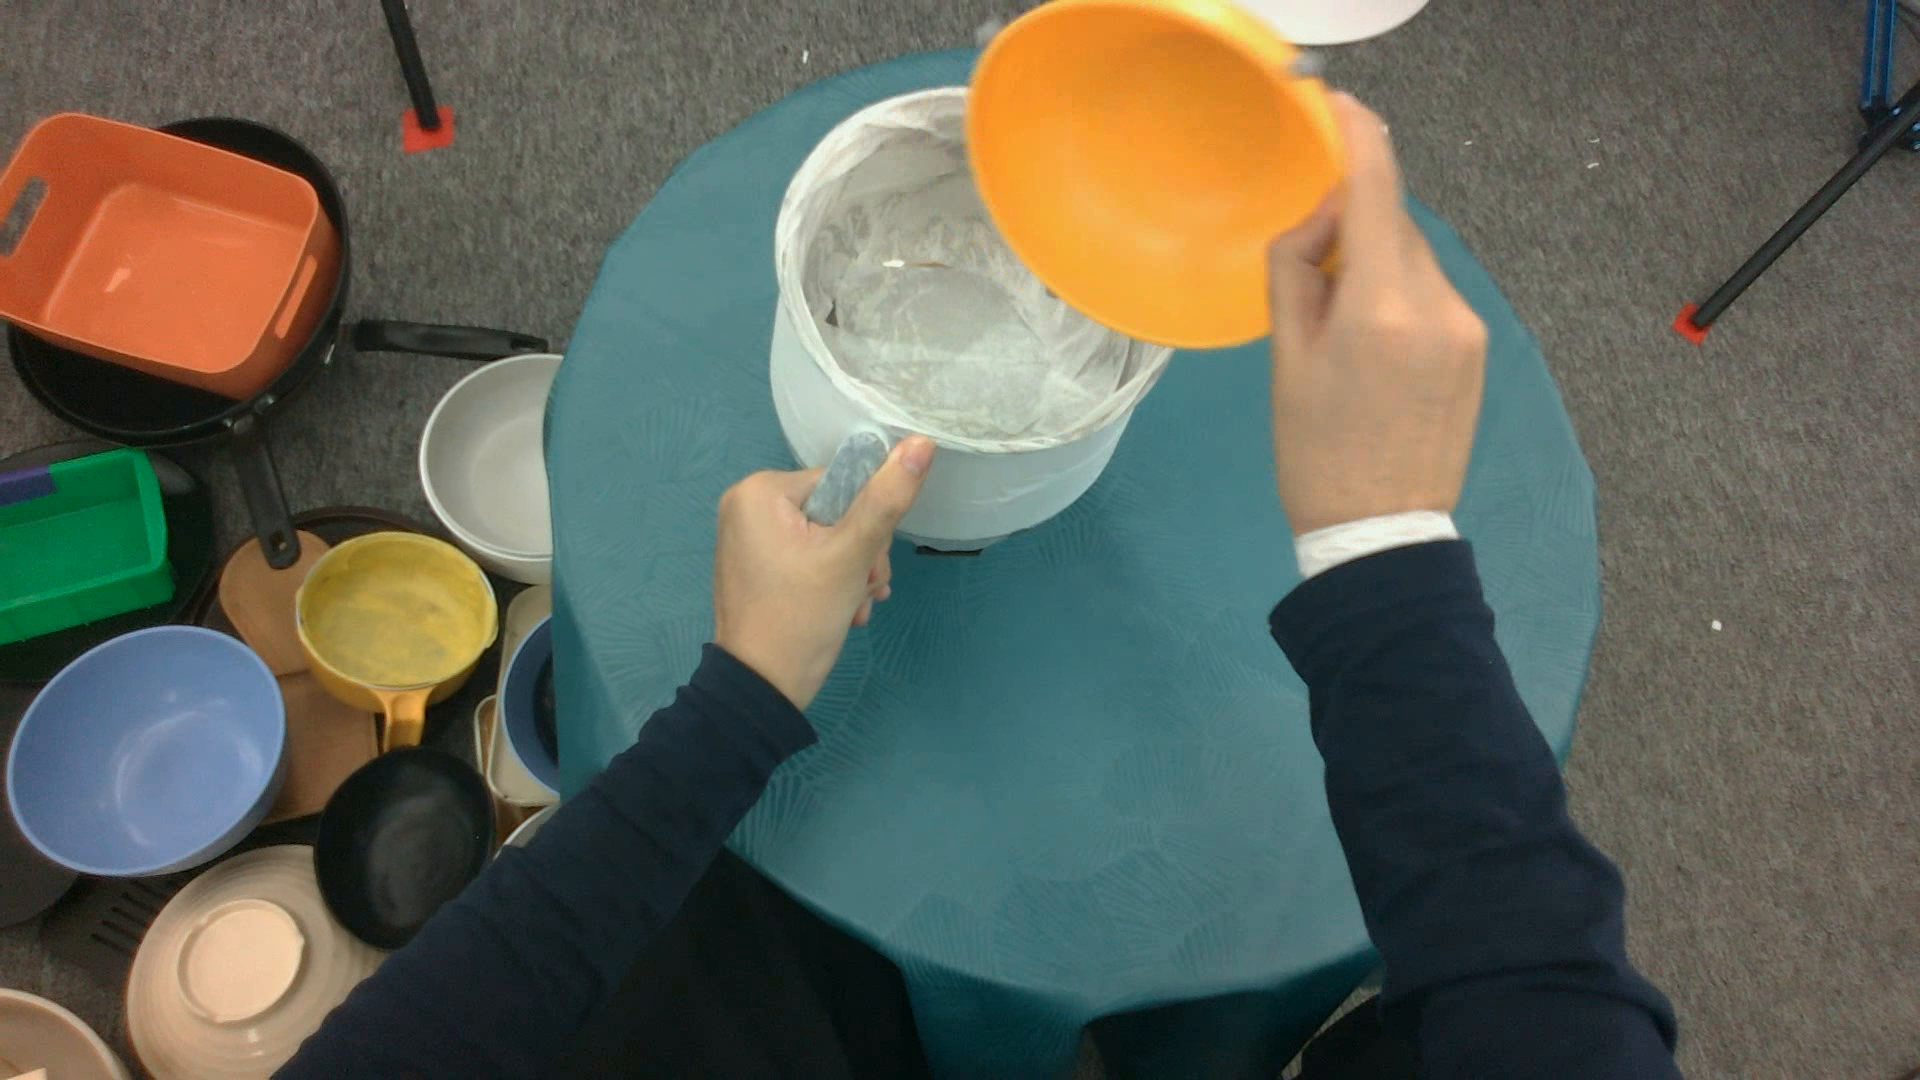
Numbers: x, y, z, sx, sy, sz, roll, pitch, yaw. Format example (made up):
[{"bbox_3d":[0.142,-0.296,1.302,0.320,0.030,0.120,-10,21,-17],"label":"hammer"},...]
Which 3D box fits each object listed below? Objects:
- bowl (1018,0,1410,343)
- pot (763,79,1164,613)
[{"bbox_3d":[0.099,-0.151,0.512,0.145,0.144,0.060,32,43,6],"label":"bowl"},{"bbox_3d":[-0.015,-0.079,0.633,0.179,0.136,0.234,27,66,4],"label":"pot"}]
